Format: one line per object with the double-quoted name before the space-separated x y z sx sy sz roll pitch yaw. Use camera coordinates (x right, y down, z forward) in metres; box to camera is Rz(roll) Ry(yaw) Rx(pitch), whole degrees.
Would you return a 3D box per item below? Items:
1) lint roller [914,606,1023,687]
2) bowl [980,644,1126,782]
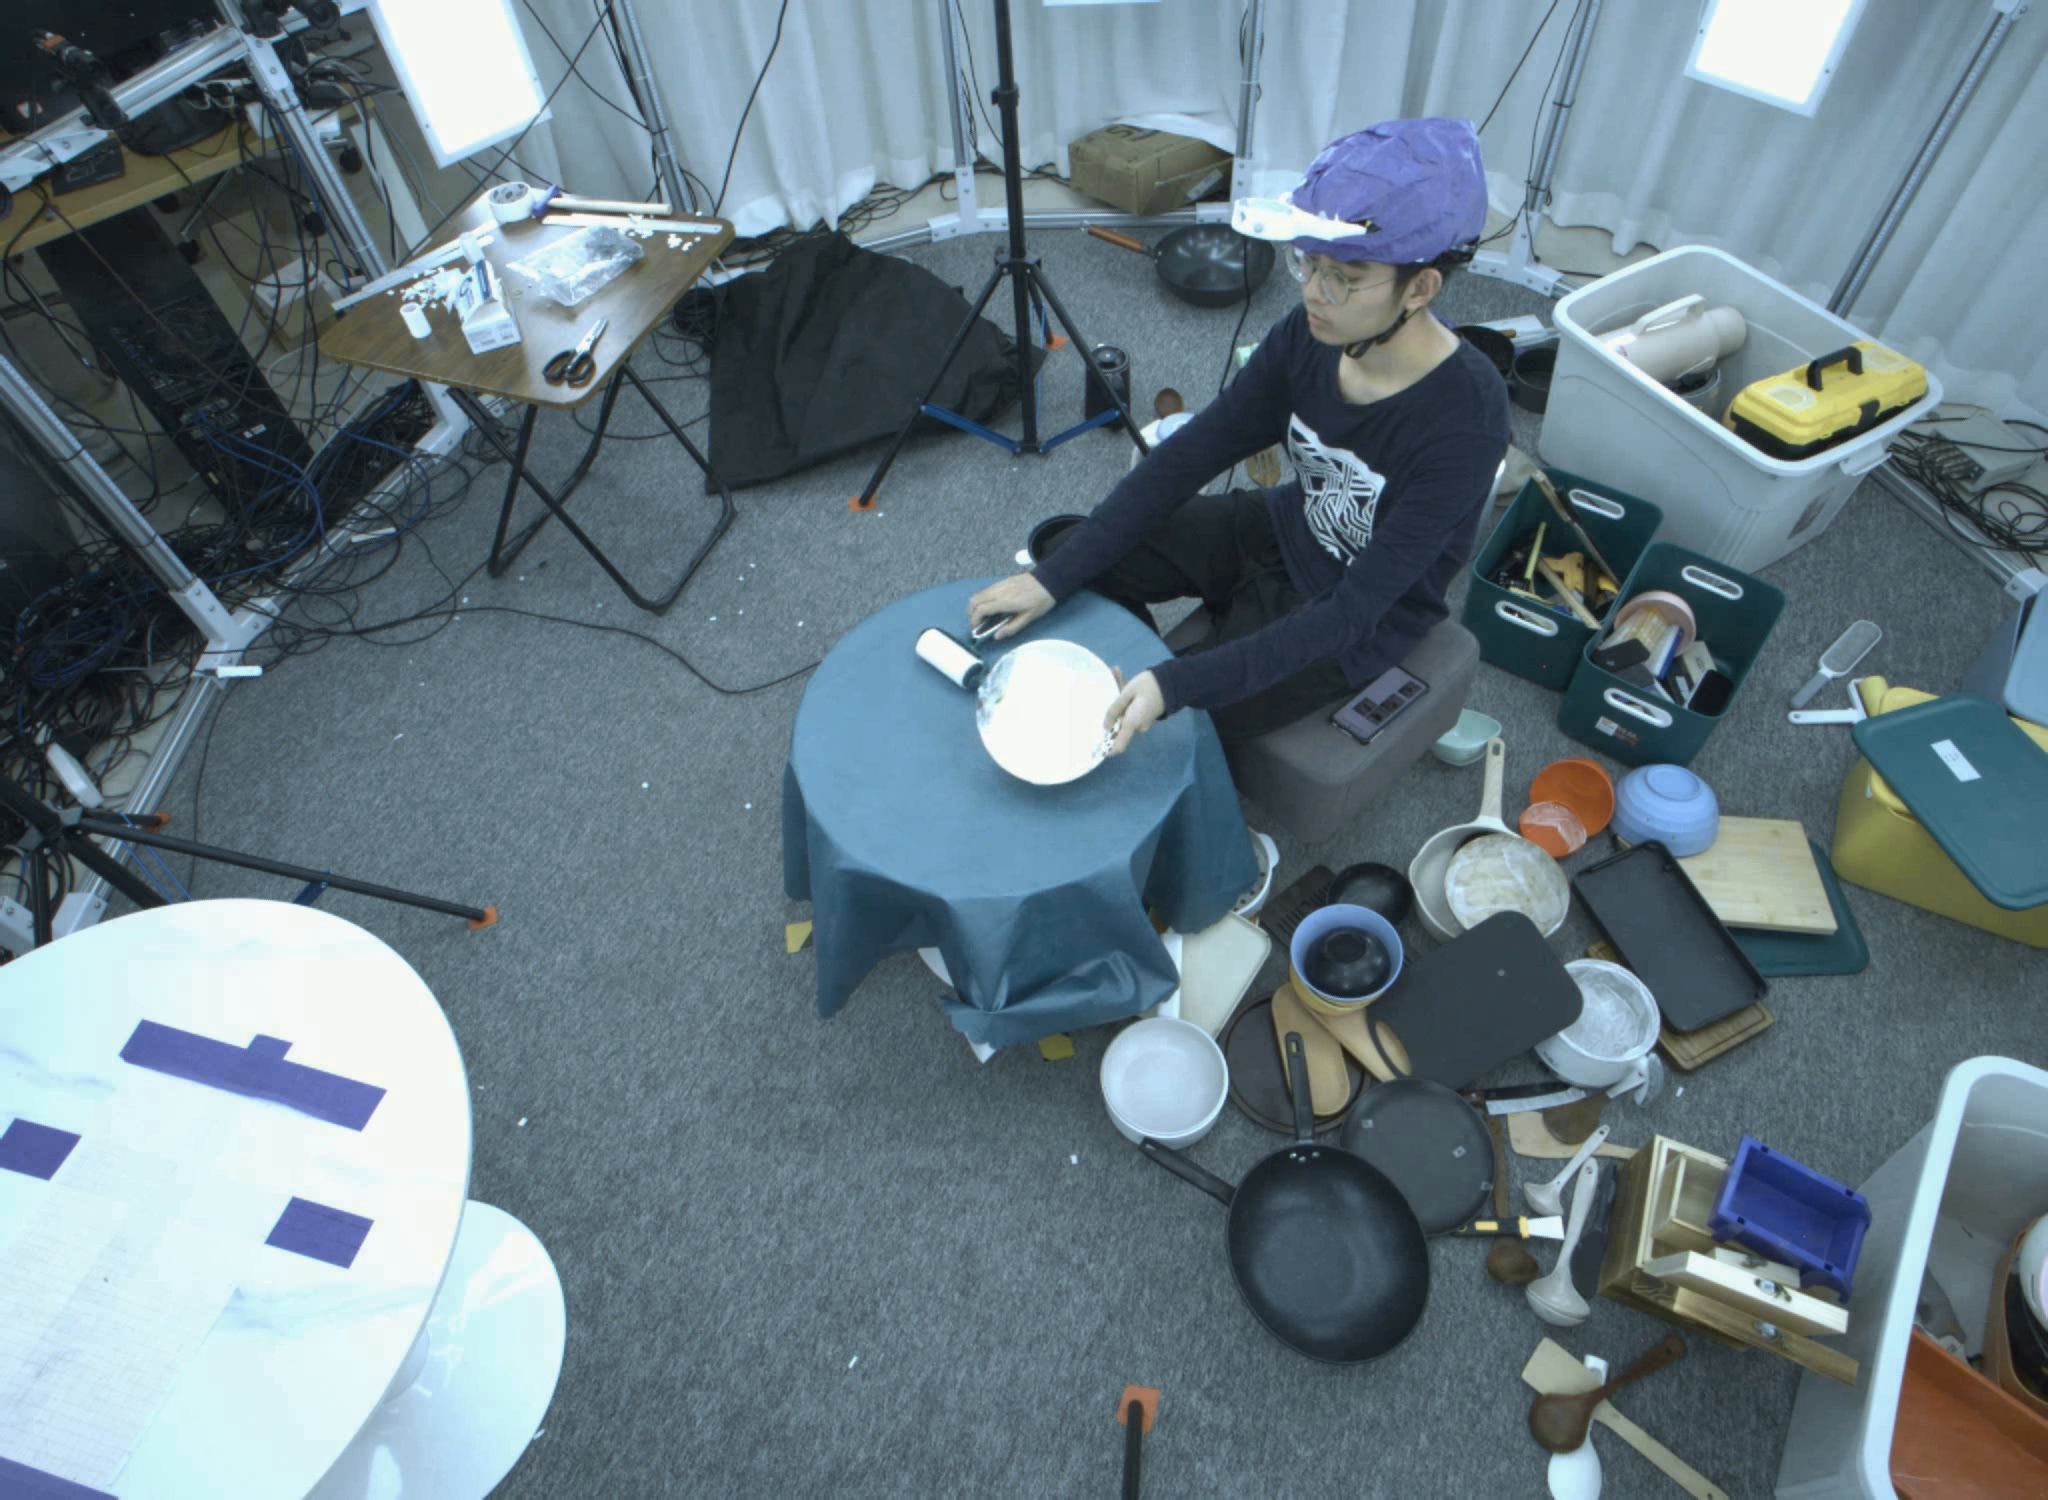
"lint roller" -0.069 -0.181 1.894 0.132 0.049 0.181 37 65 25
"bowl" 0.040 -0.042 1.750 0.204 0.078 0.202 1 73 -2
